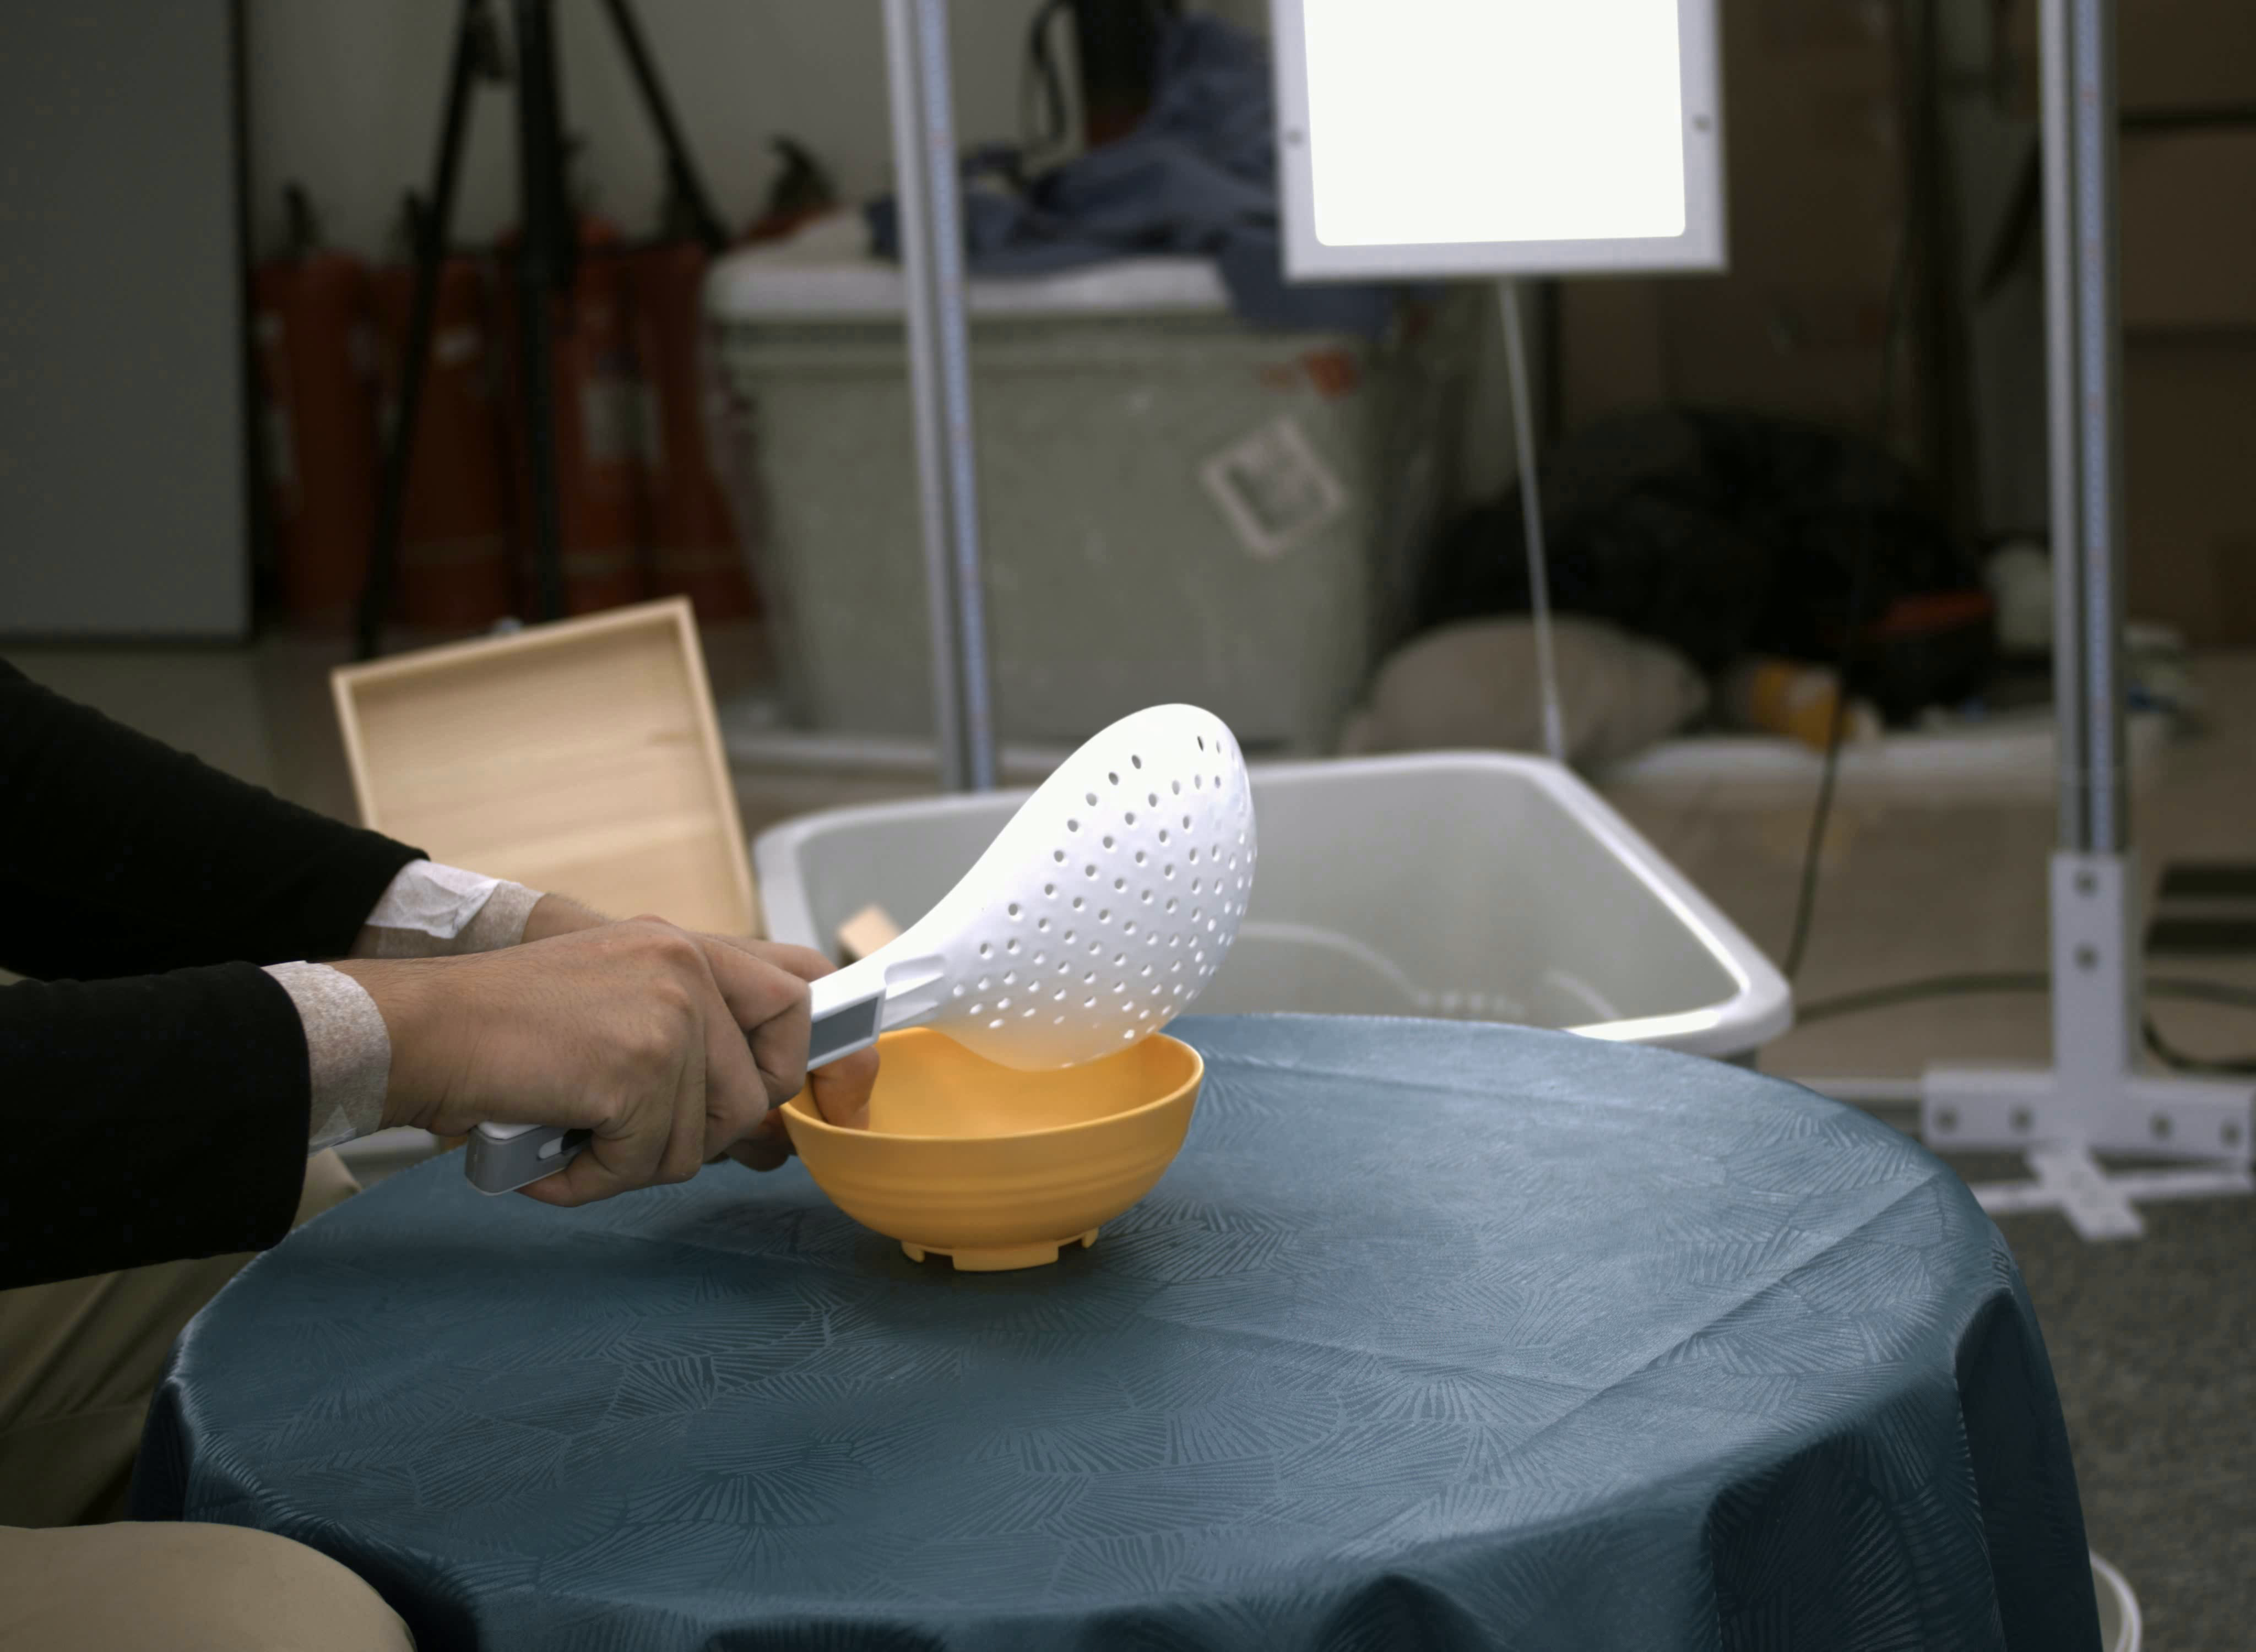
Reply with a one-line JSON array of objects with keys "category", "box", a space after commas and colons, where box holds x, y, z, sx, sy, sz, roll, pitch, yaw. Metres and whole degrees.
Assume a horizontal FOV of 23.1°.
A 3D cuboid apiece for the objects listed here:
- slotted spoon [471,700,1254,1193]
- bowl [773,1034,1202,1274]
[{"category": "slotted spoon", "box": [-0.075, 0.052, 1.765, 0.341, 0.137, 0.046, -17, 37, -38]}, {"category": "bowl", "box": [-0.046, 0.113, 1.849, 0.145, 0.060, 0.145, -3, 11, -1]}]
